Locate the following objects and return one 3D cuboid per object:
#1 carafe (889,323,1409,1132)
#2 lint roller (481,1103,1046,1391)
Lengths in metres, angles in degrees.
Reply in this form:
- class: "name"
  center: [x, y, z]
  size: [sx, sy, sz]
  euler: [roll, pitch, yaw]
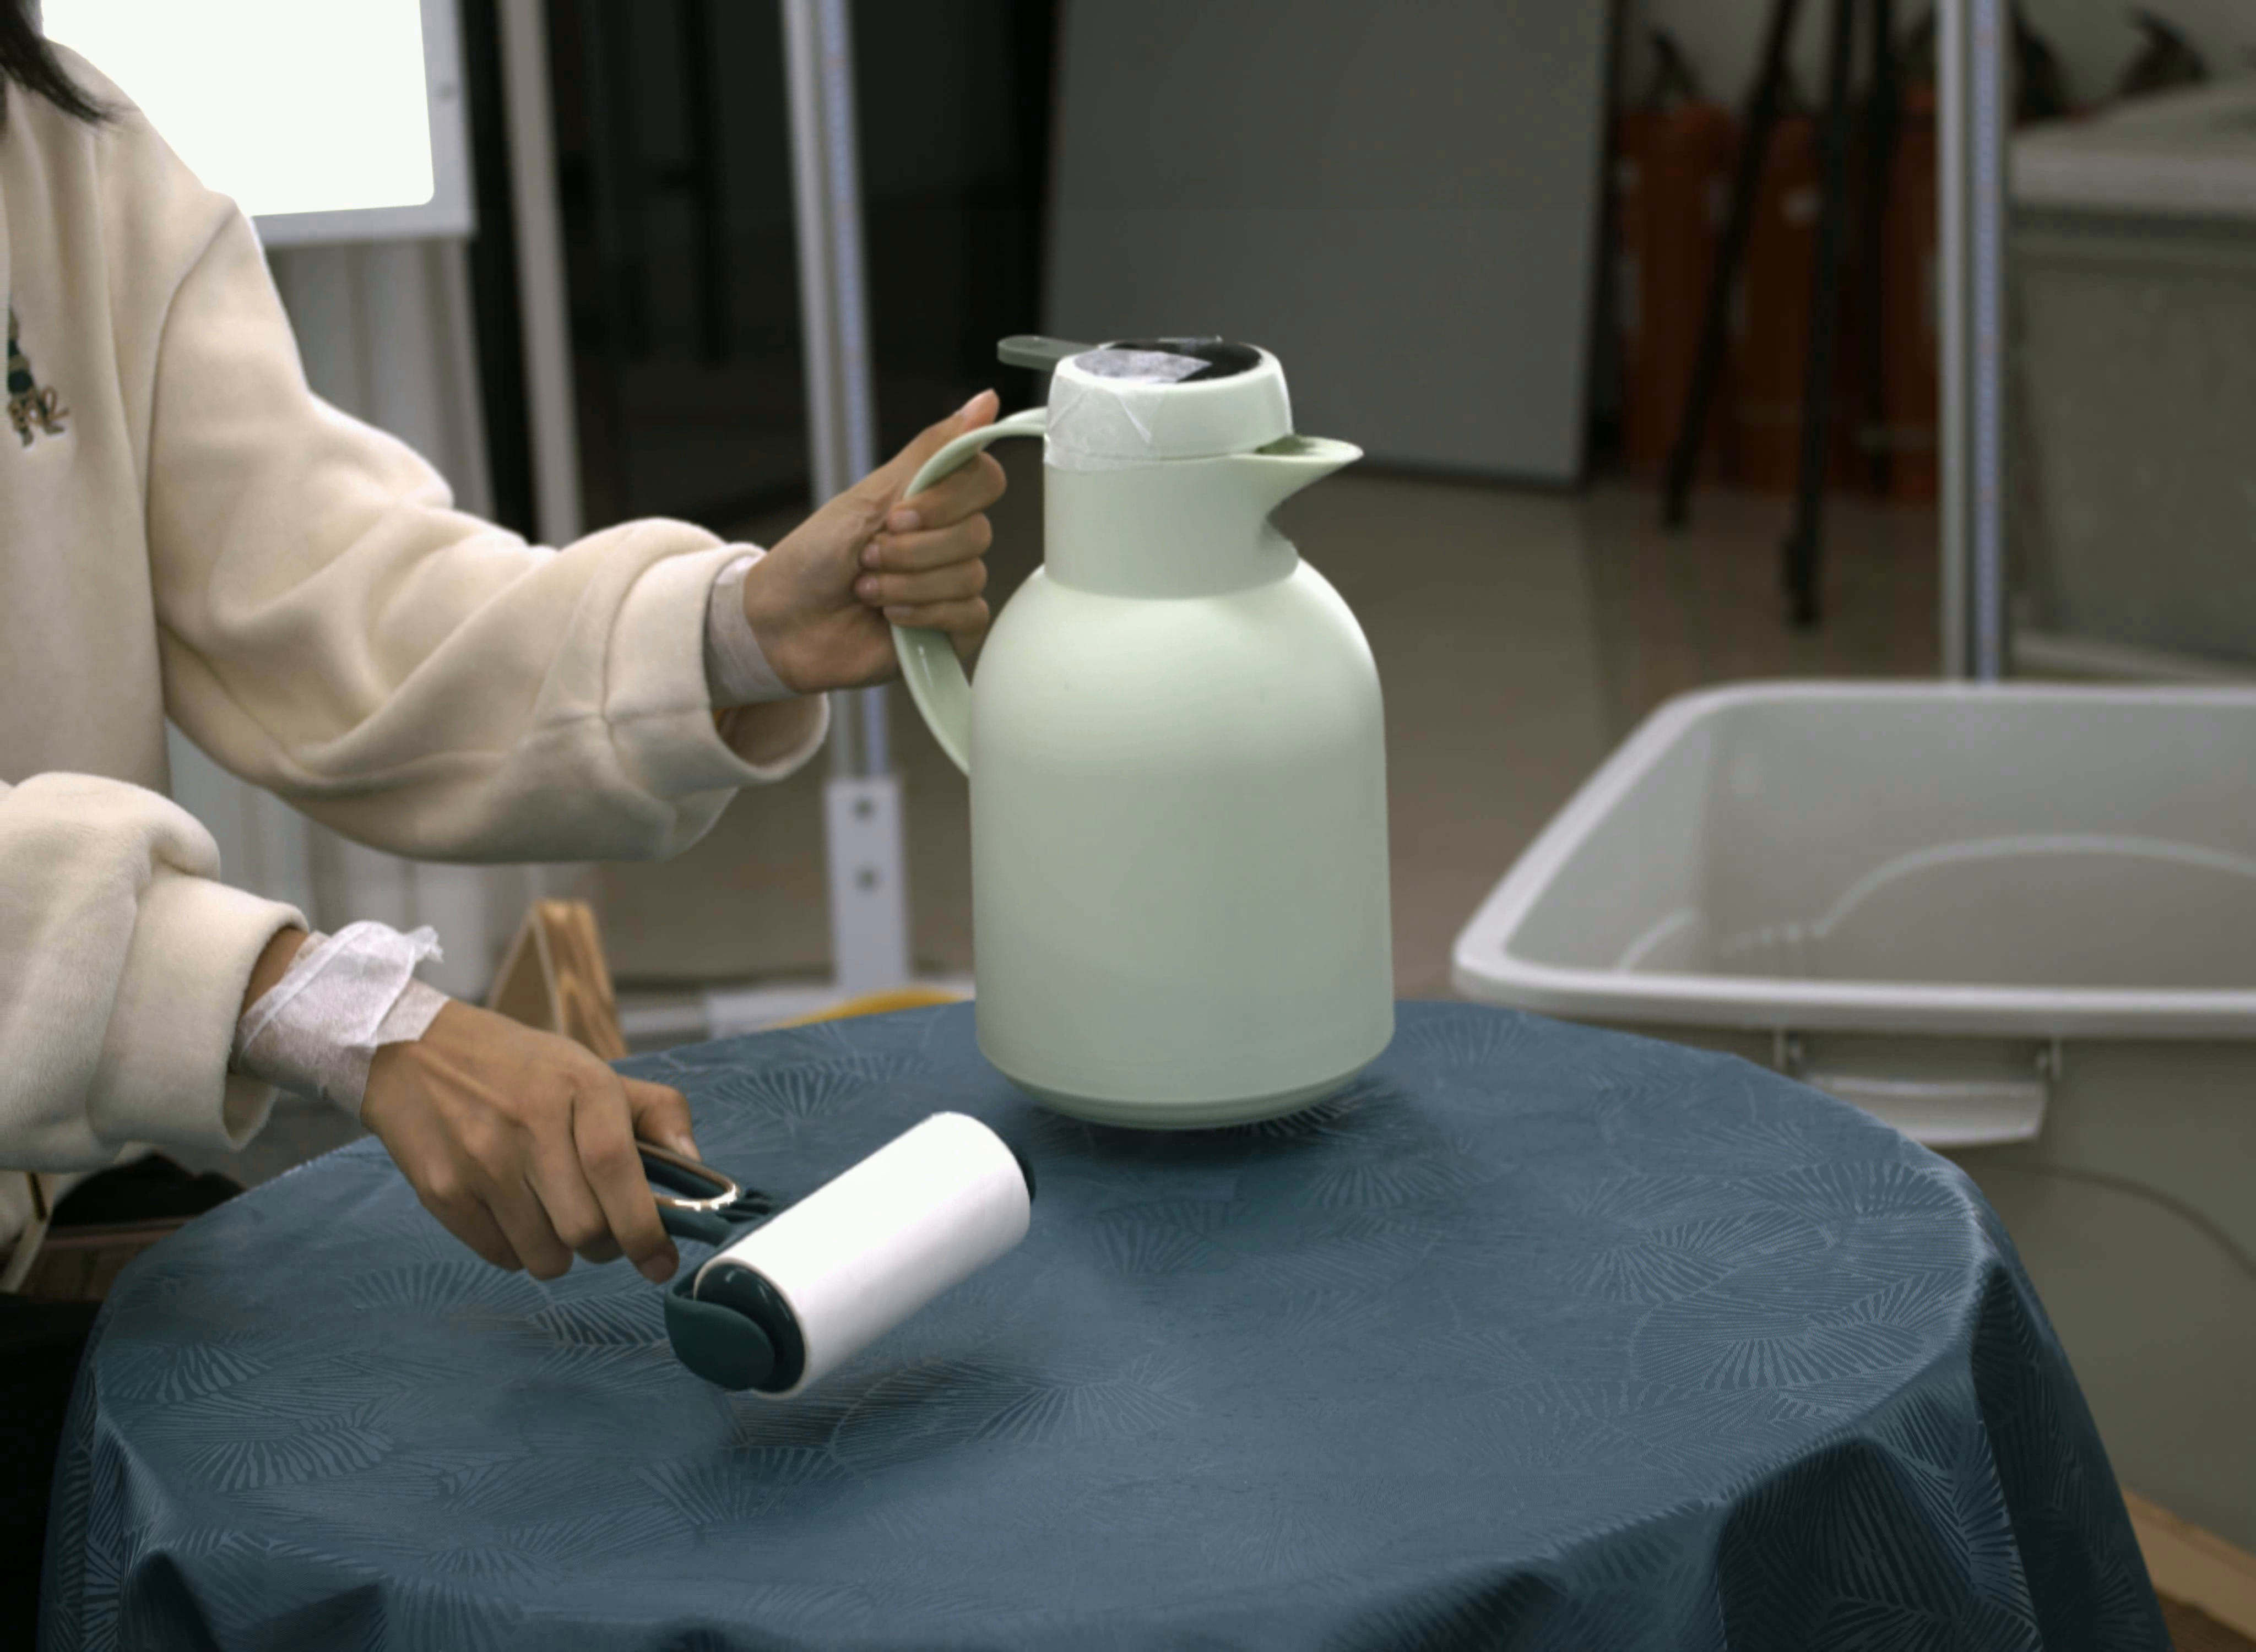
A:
- class: "carafe"
  center: [0.005, -0.039, 1.823]
  size: [0.188, 0.259, 0.142]
  euler: [5, 19, 35]
- class: "lint roller"
  center: [-0.129, 0.104, 1.619]
  size: [0.181, 0.049, 0.132]
  euler: [19, 35, 36]
